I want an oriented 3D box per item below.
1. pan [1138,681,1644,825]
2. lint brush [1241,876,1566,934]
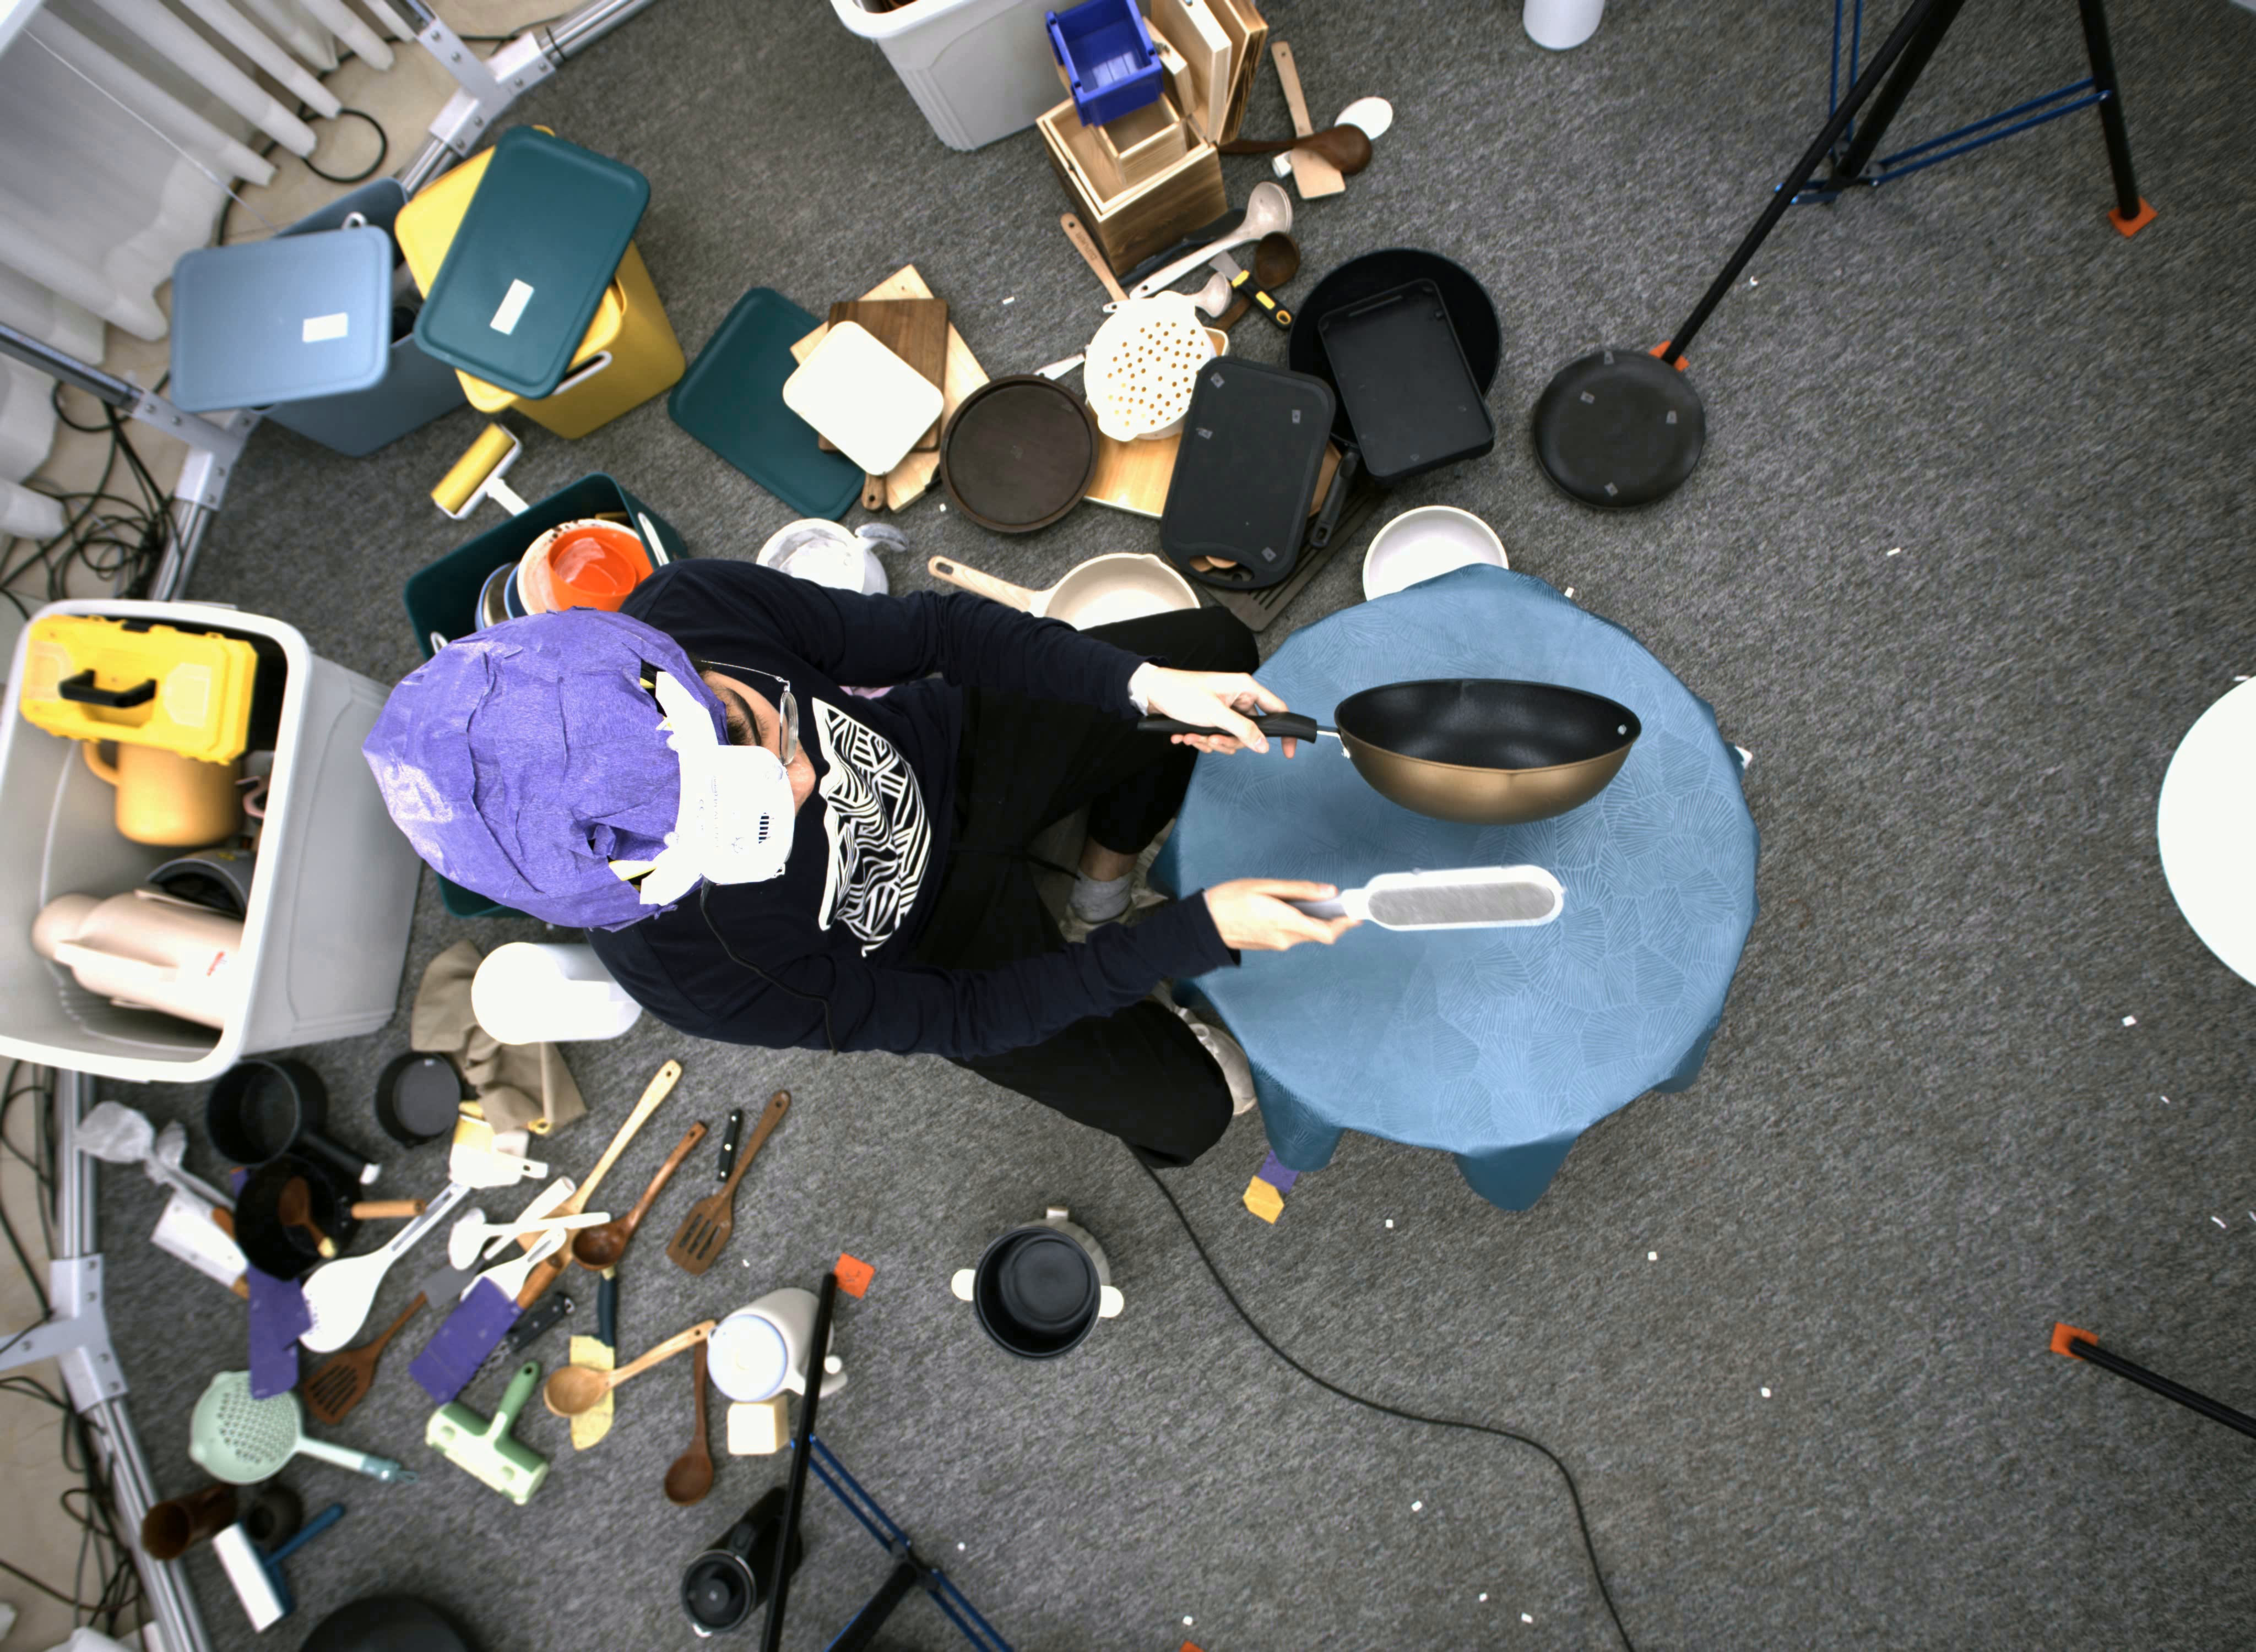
[{"bbox_3d":[0.241,-0.068,1.294,0.465,0.282,0.088,0,111,7],"label":"pan"},{"bbox_3d":[0.247,0.074,1.276,0.311,0.020,0.061,-5,130,28],"label":"lint brush"}]
